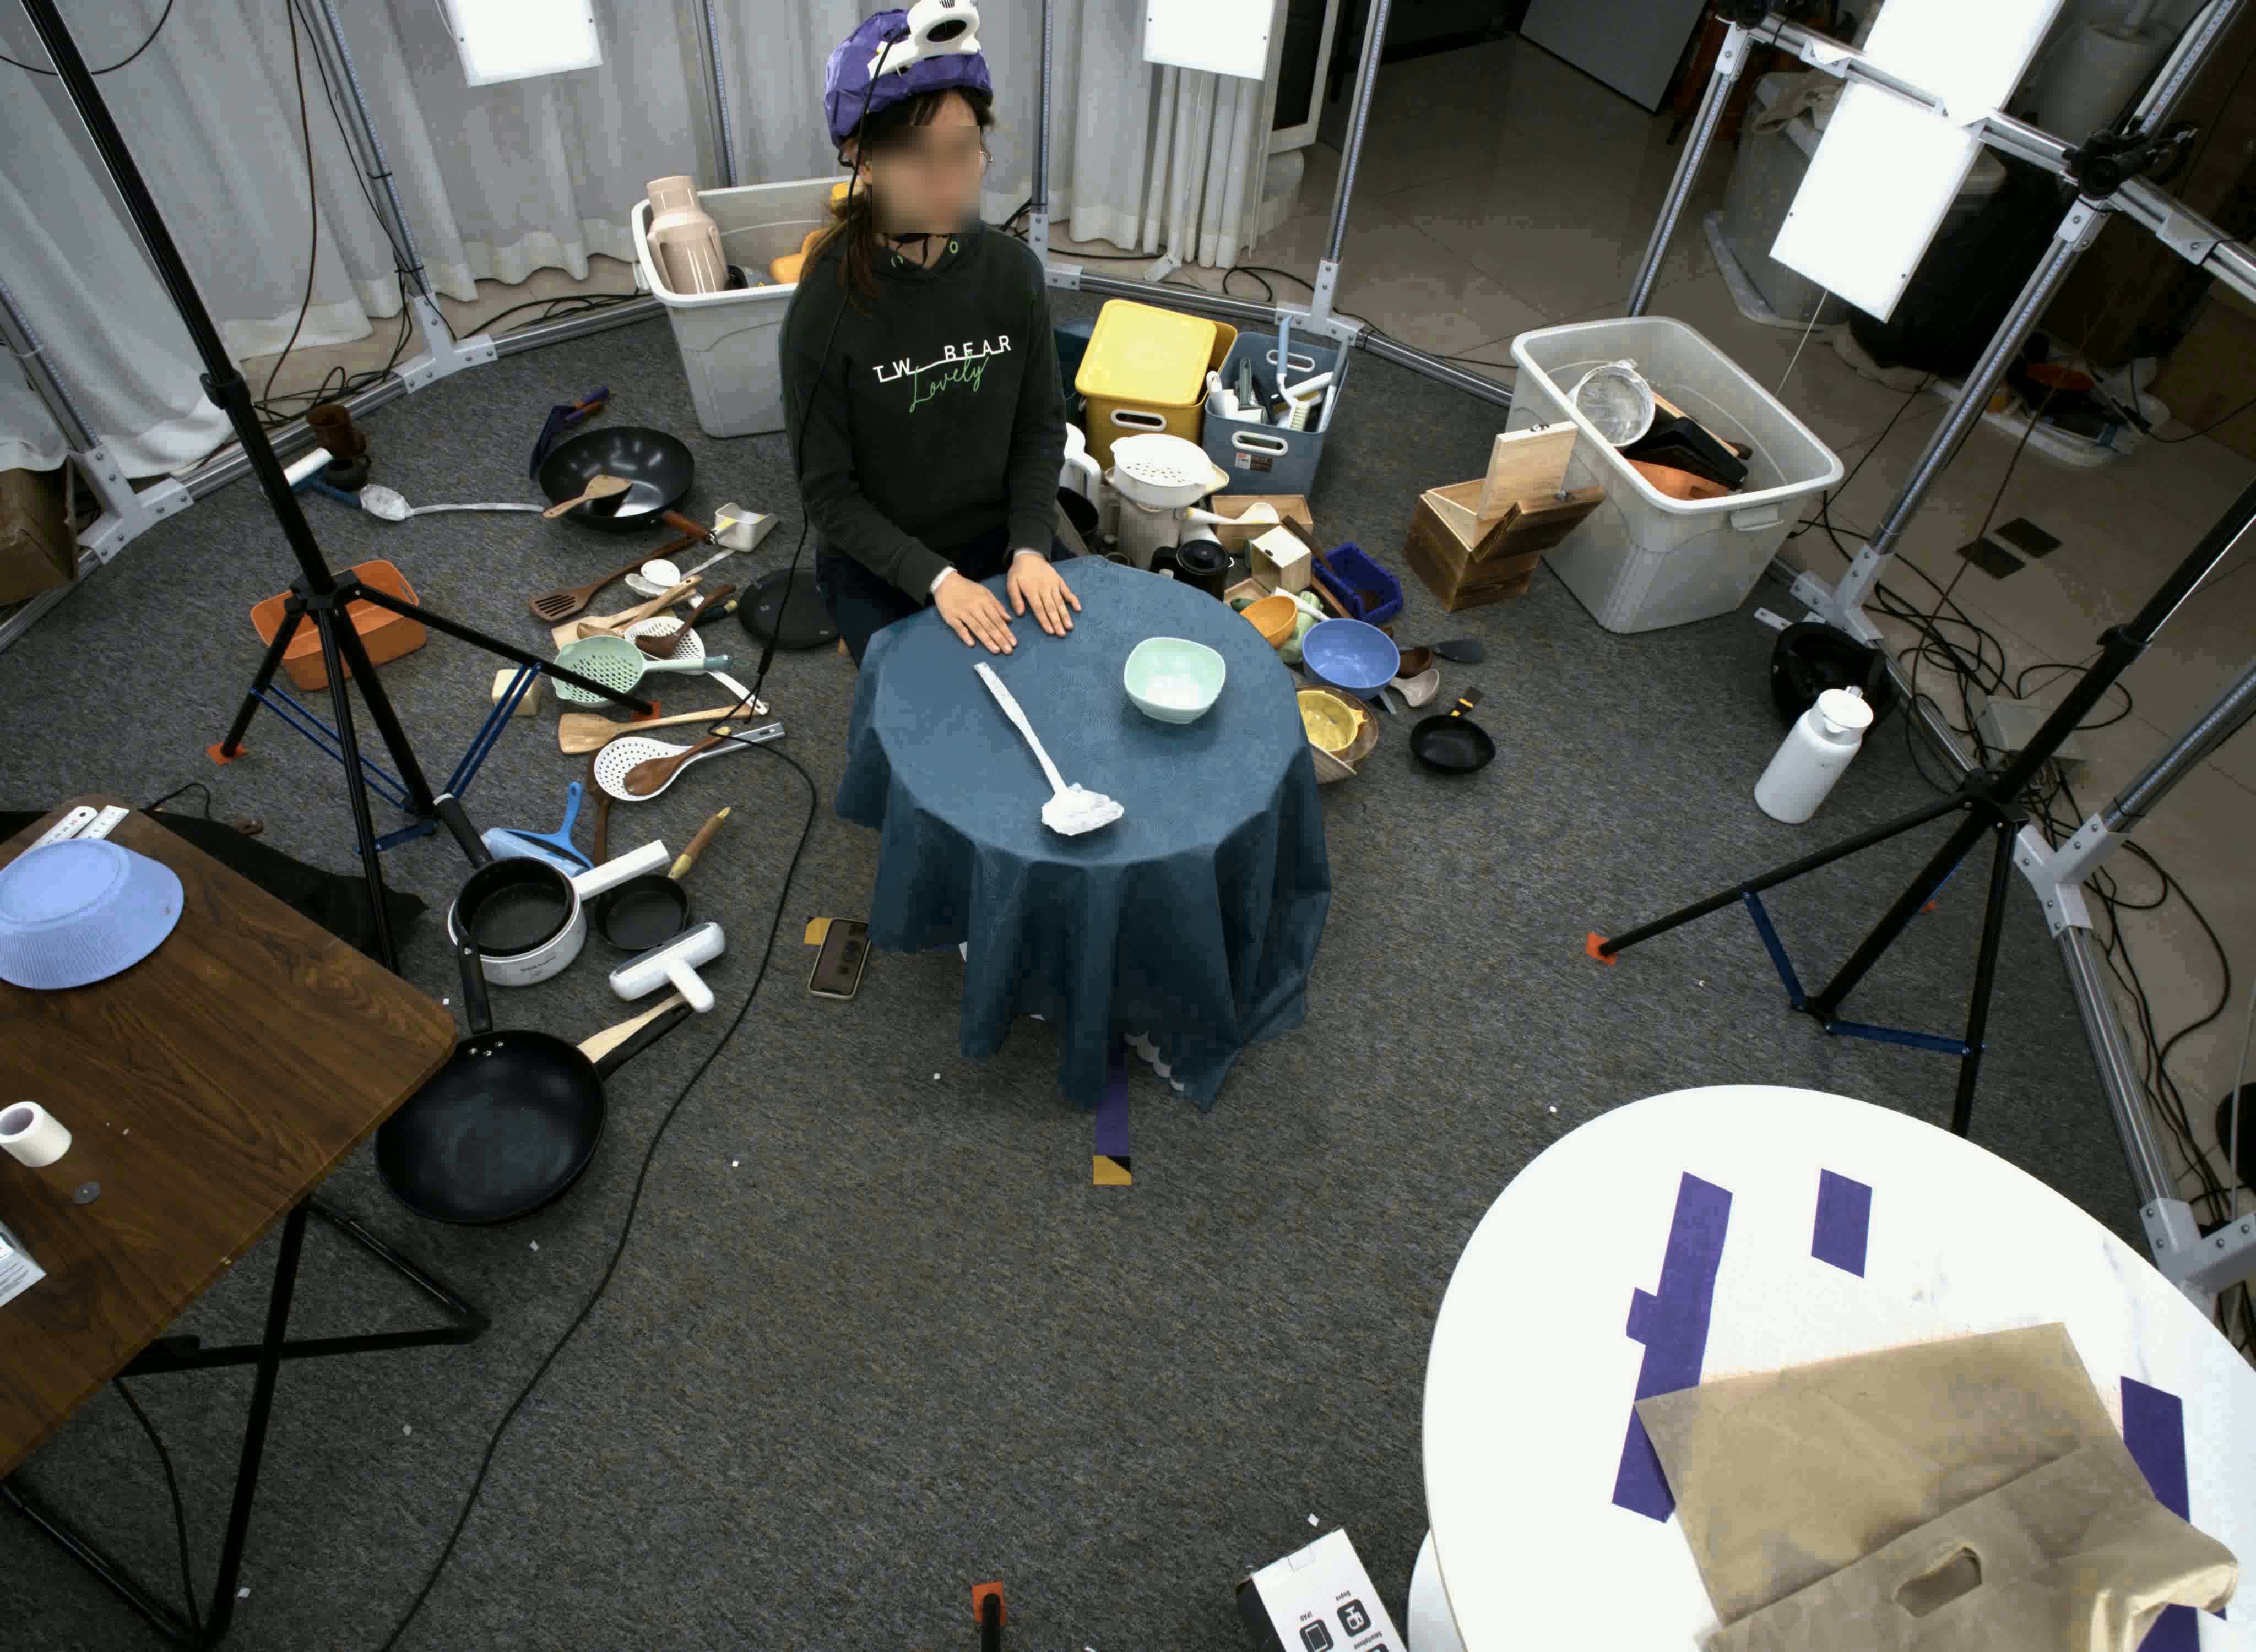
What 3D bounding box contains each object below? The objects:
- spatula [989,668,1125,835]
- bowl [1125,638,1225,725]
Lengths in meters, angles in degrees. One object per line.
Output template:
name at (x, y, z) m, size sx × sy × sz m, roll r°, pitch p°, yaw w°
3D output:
spatula at (-0.120, -0.112, 1.748) m, size 0.099 × 0.043 × 0.373 m, roll -20°, pitch 53°, yaw -17°
bowl at (0.064, -0.196, 1.824) m, size 0.151 × 0.057 × 0.155 m, roll 3°, pitch 50°, yaw -4°
